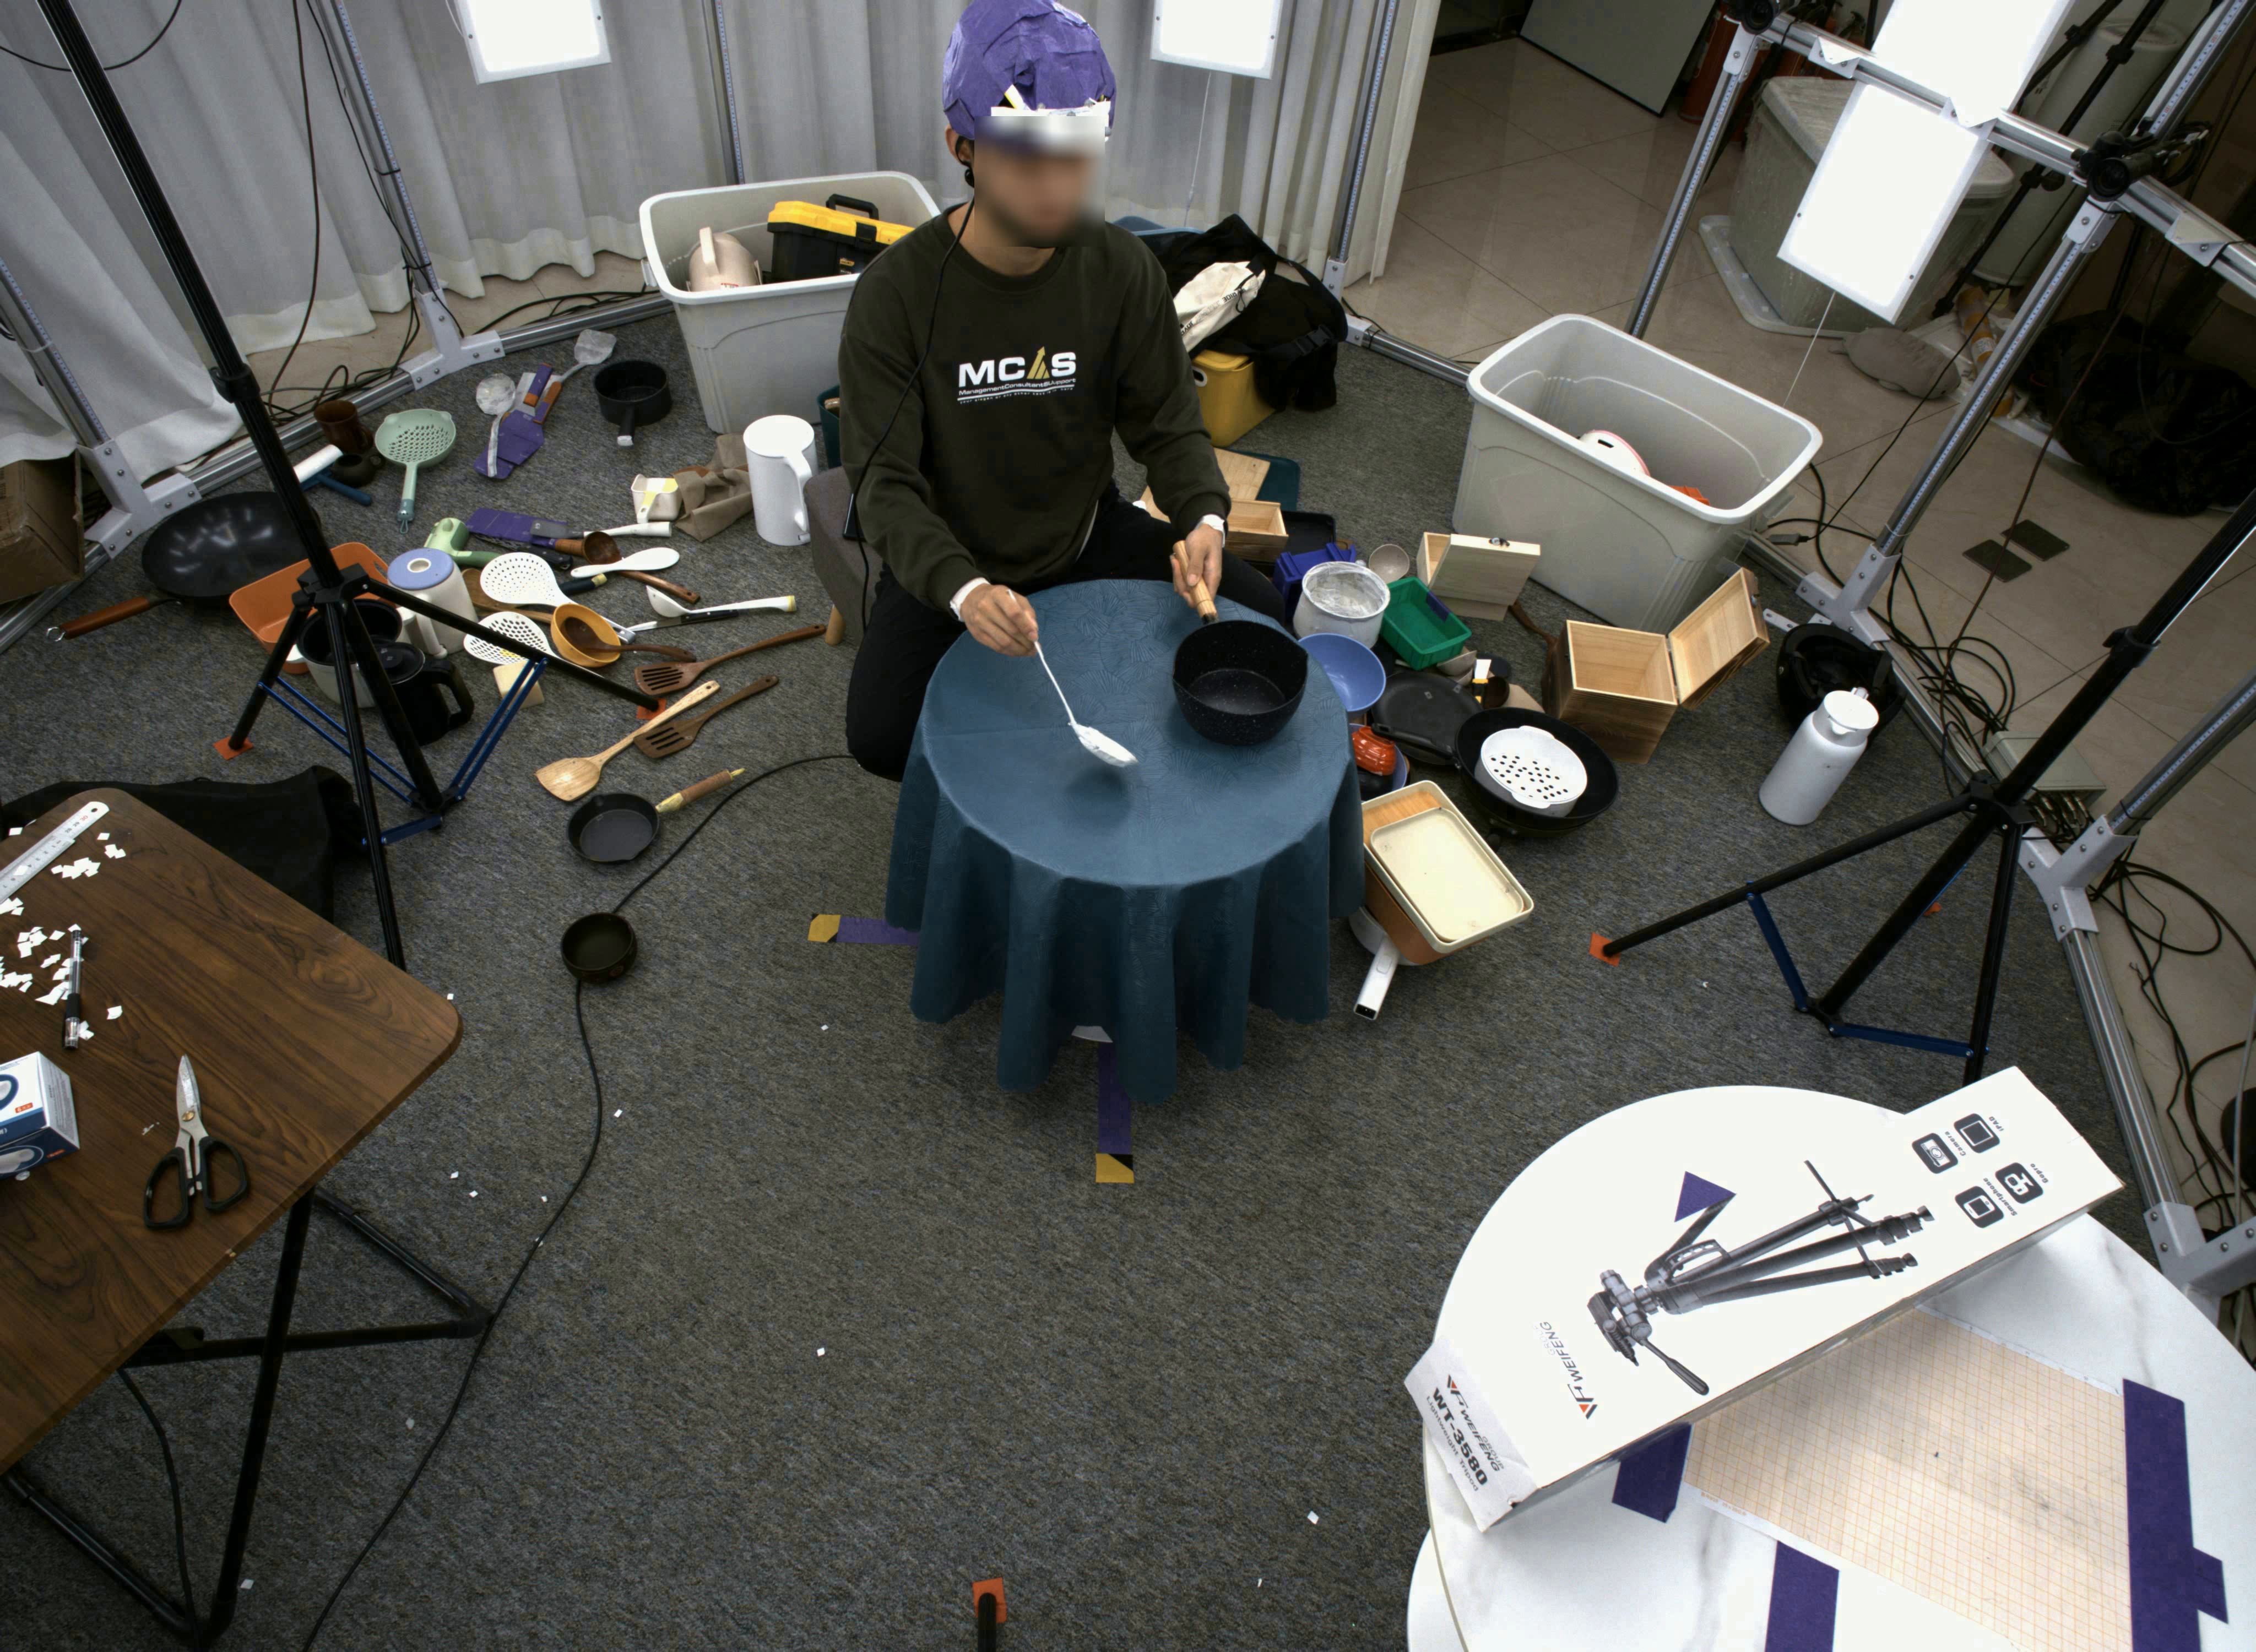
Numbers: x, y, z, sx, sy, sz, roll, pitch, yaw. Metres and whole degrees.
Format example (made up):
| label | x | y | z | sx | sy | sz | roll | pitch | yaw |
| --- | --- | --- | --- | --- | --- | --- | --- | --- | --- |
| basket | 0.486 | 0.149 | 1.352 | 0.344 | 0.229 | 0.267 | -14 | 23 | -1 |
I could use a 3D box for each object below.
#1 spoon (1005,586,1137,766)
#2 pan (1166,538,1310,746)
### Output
| label | x | y | z | sx | sy | sz | roll | pitch | yaw |
| --- | --- | --- | --- | --- | --- | --- | --- | --- | --- |
| spoon | -0.072 | -0.194 | 1.663 | 0.059 | 0.275 | 0.101 | -25 | 11 | 5 |
| pan | 0.128 | -0.262 | 1.829 | 0.207 | 0.105 | 0.351 | -15 | 54 | -12 |
